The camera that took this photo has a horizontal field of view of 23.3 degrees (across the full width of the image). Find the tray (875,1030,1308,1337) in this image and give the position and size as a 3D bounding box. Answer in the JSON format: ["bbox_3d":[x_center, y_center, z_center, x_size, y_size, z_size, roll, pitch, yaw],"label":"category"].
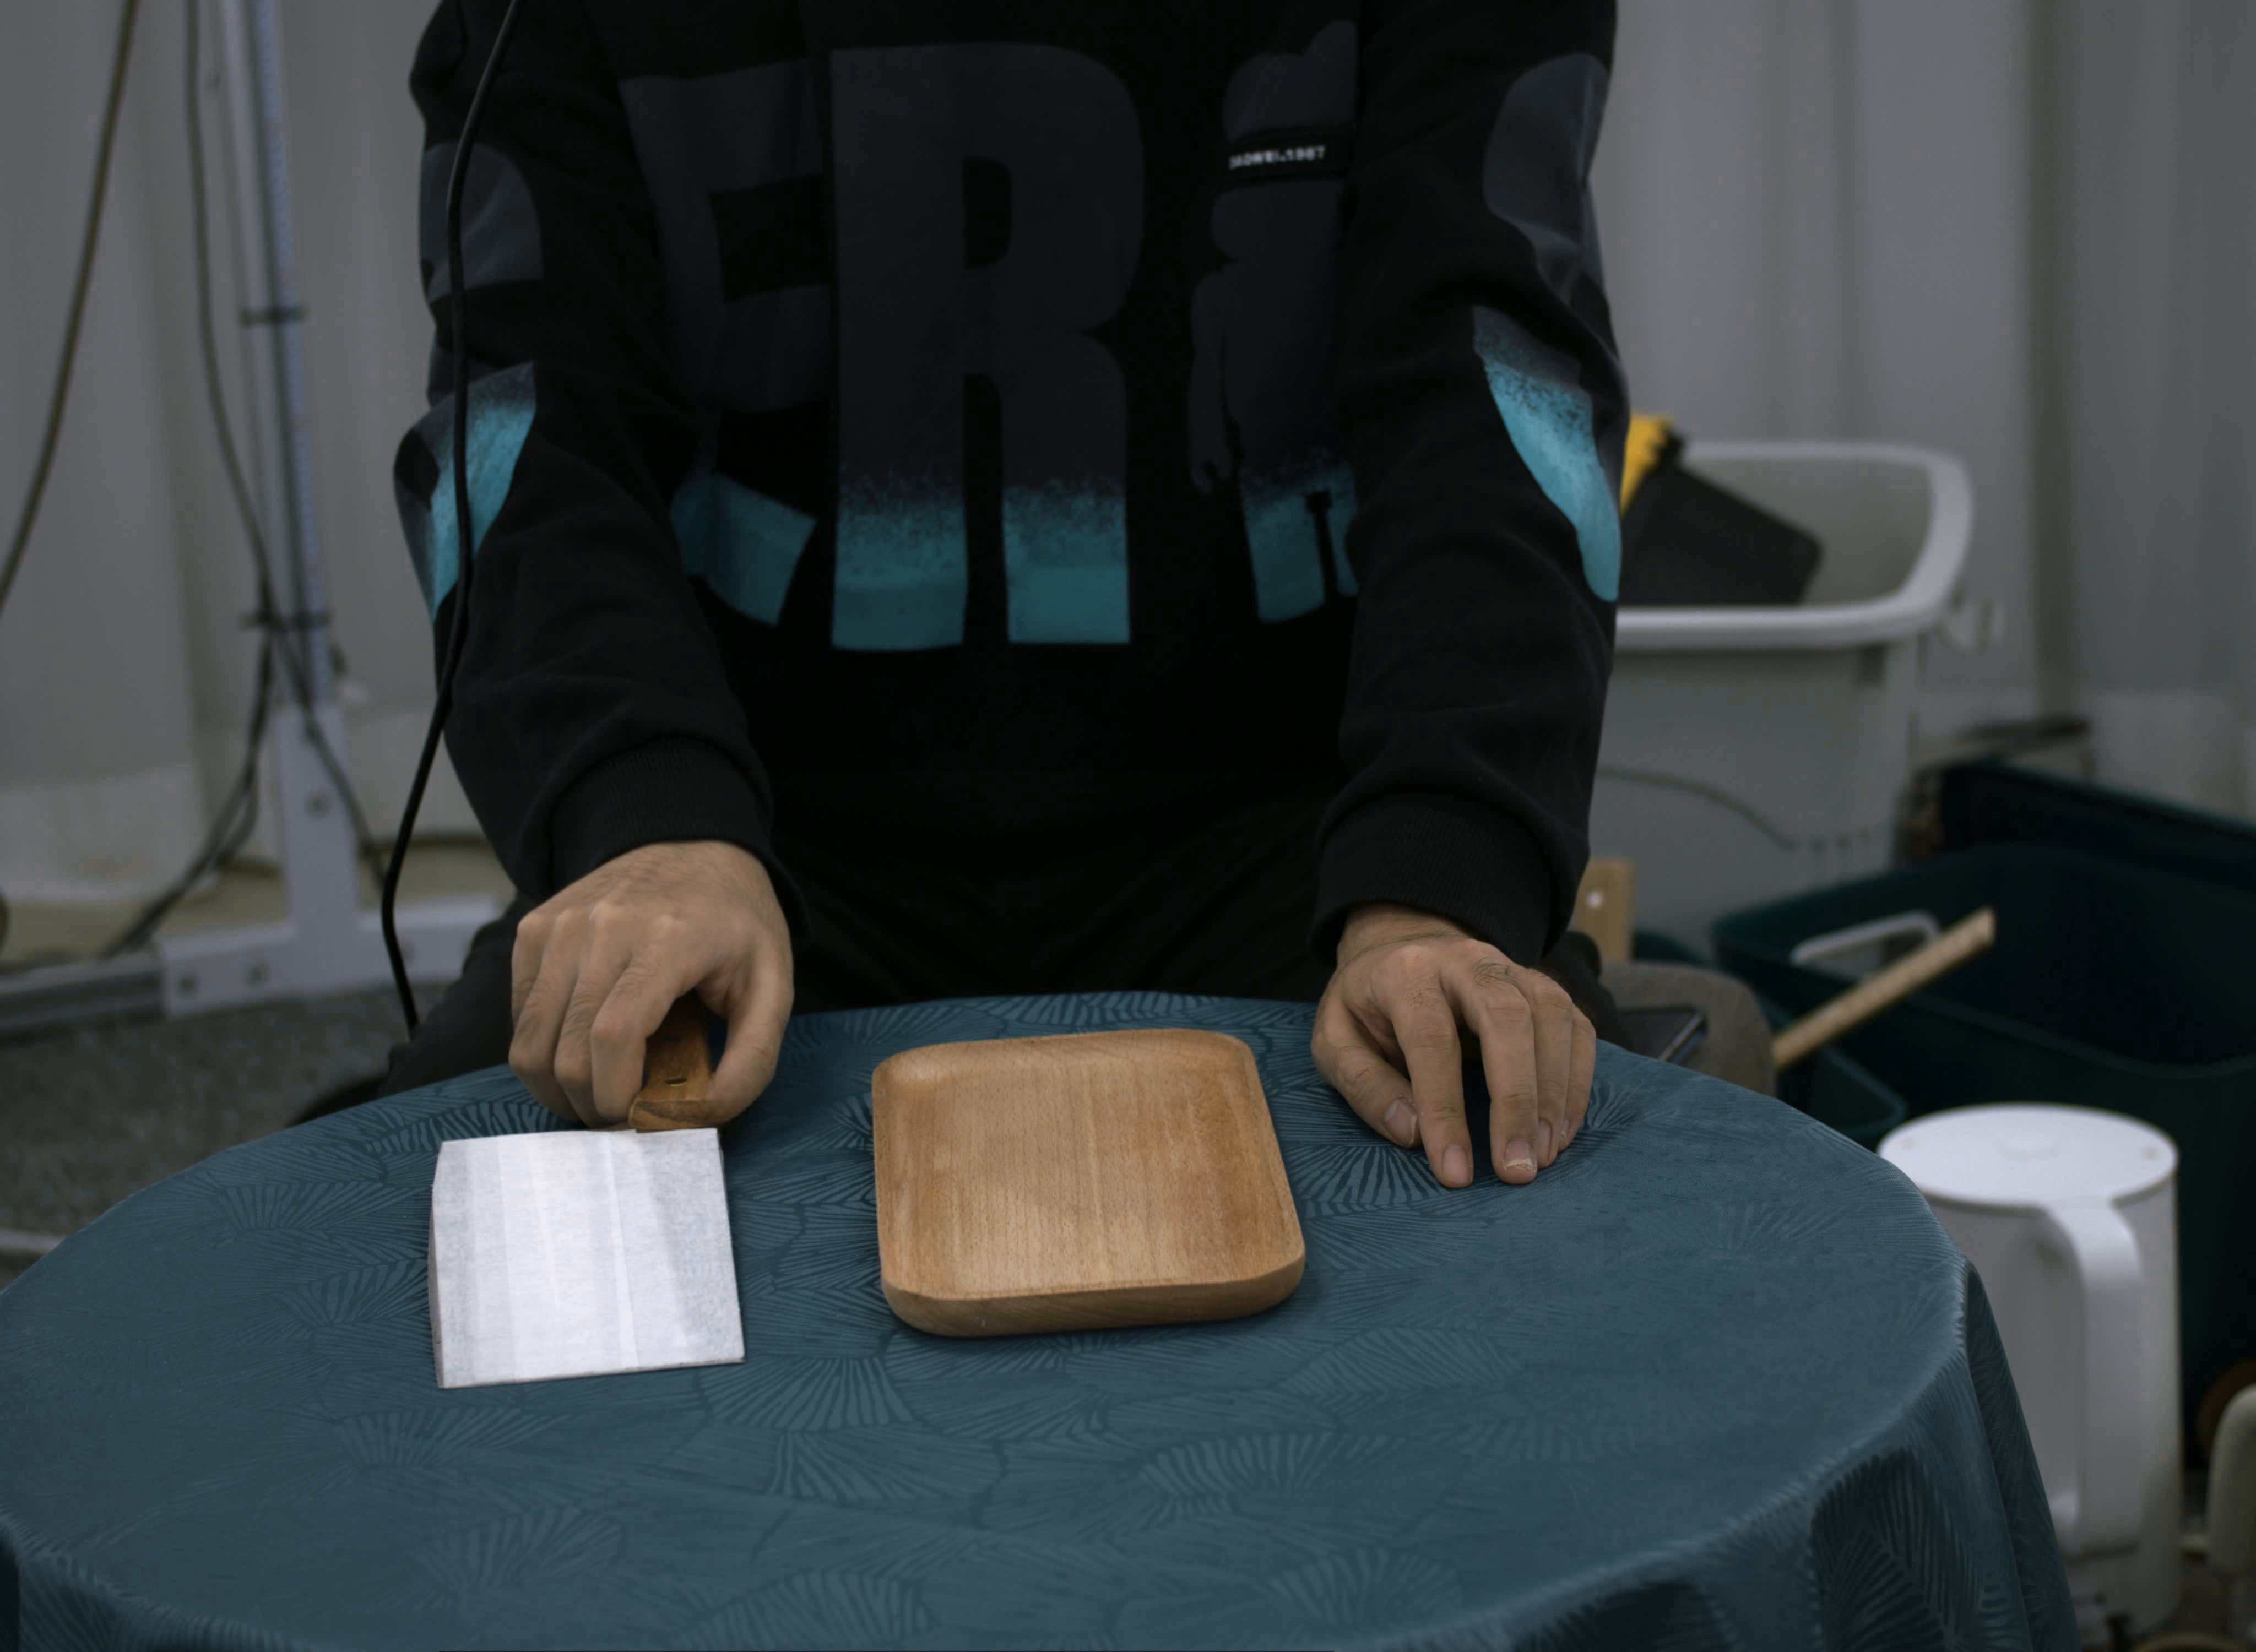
[{"bbox_3d":[-0.015,0.109,1.709,0.130,0.023,0.252,-1,14,-1],"label":"tray"}]

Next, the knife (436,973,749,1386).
[{"bbox_3d":[-0.171,0.110,1.722,0.092,0.021,0.308,-5,19,-5],"label":"knife"}]
